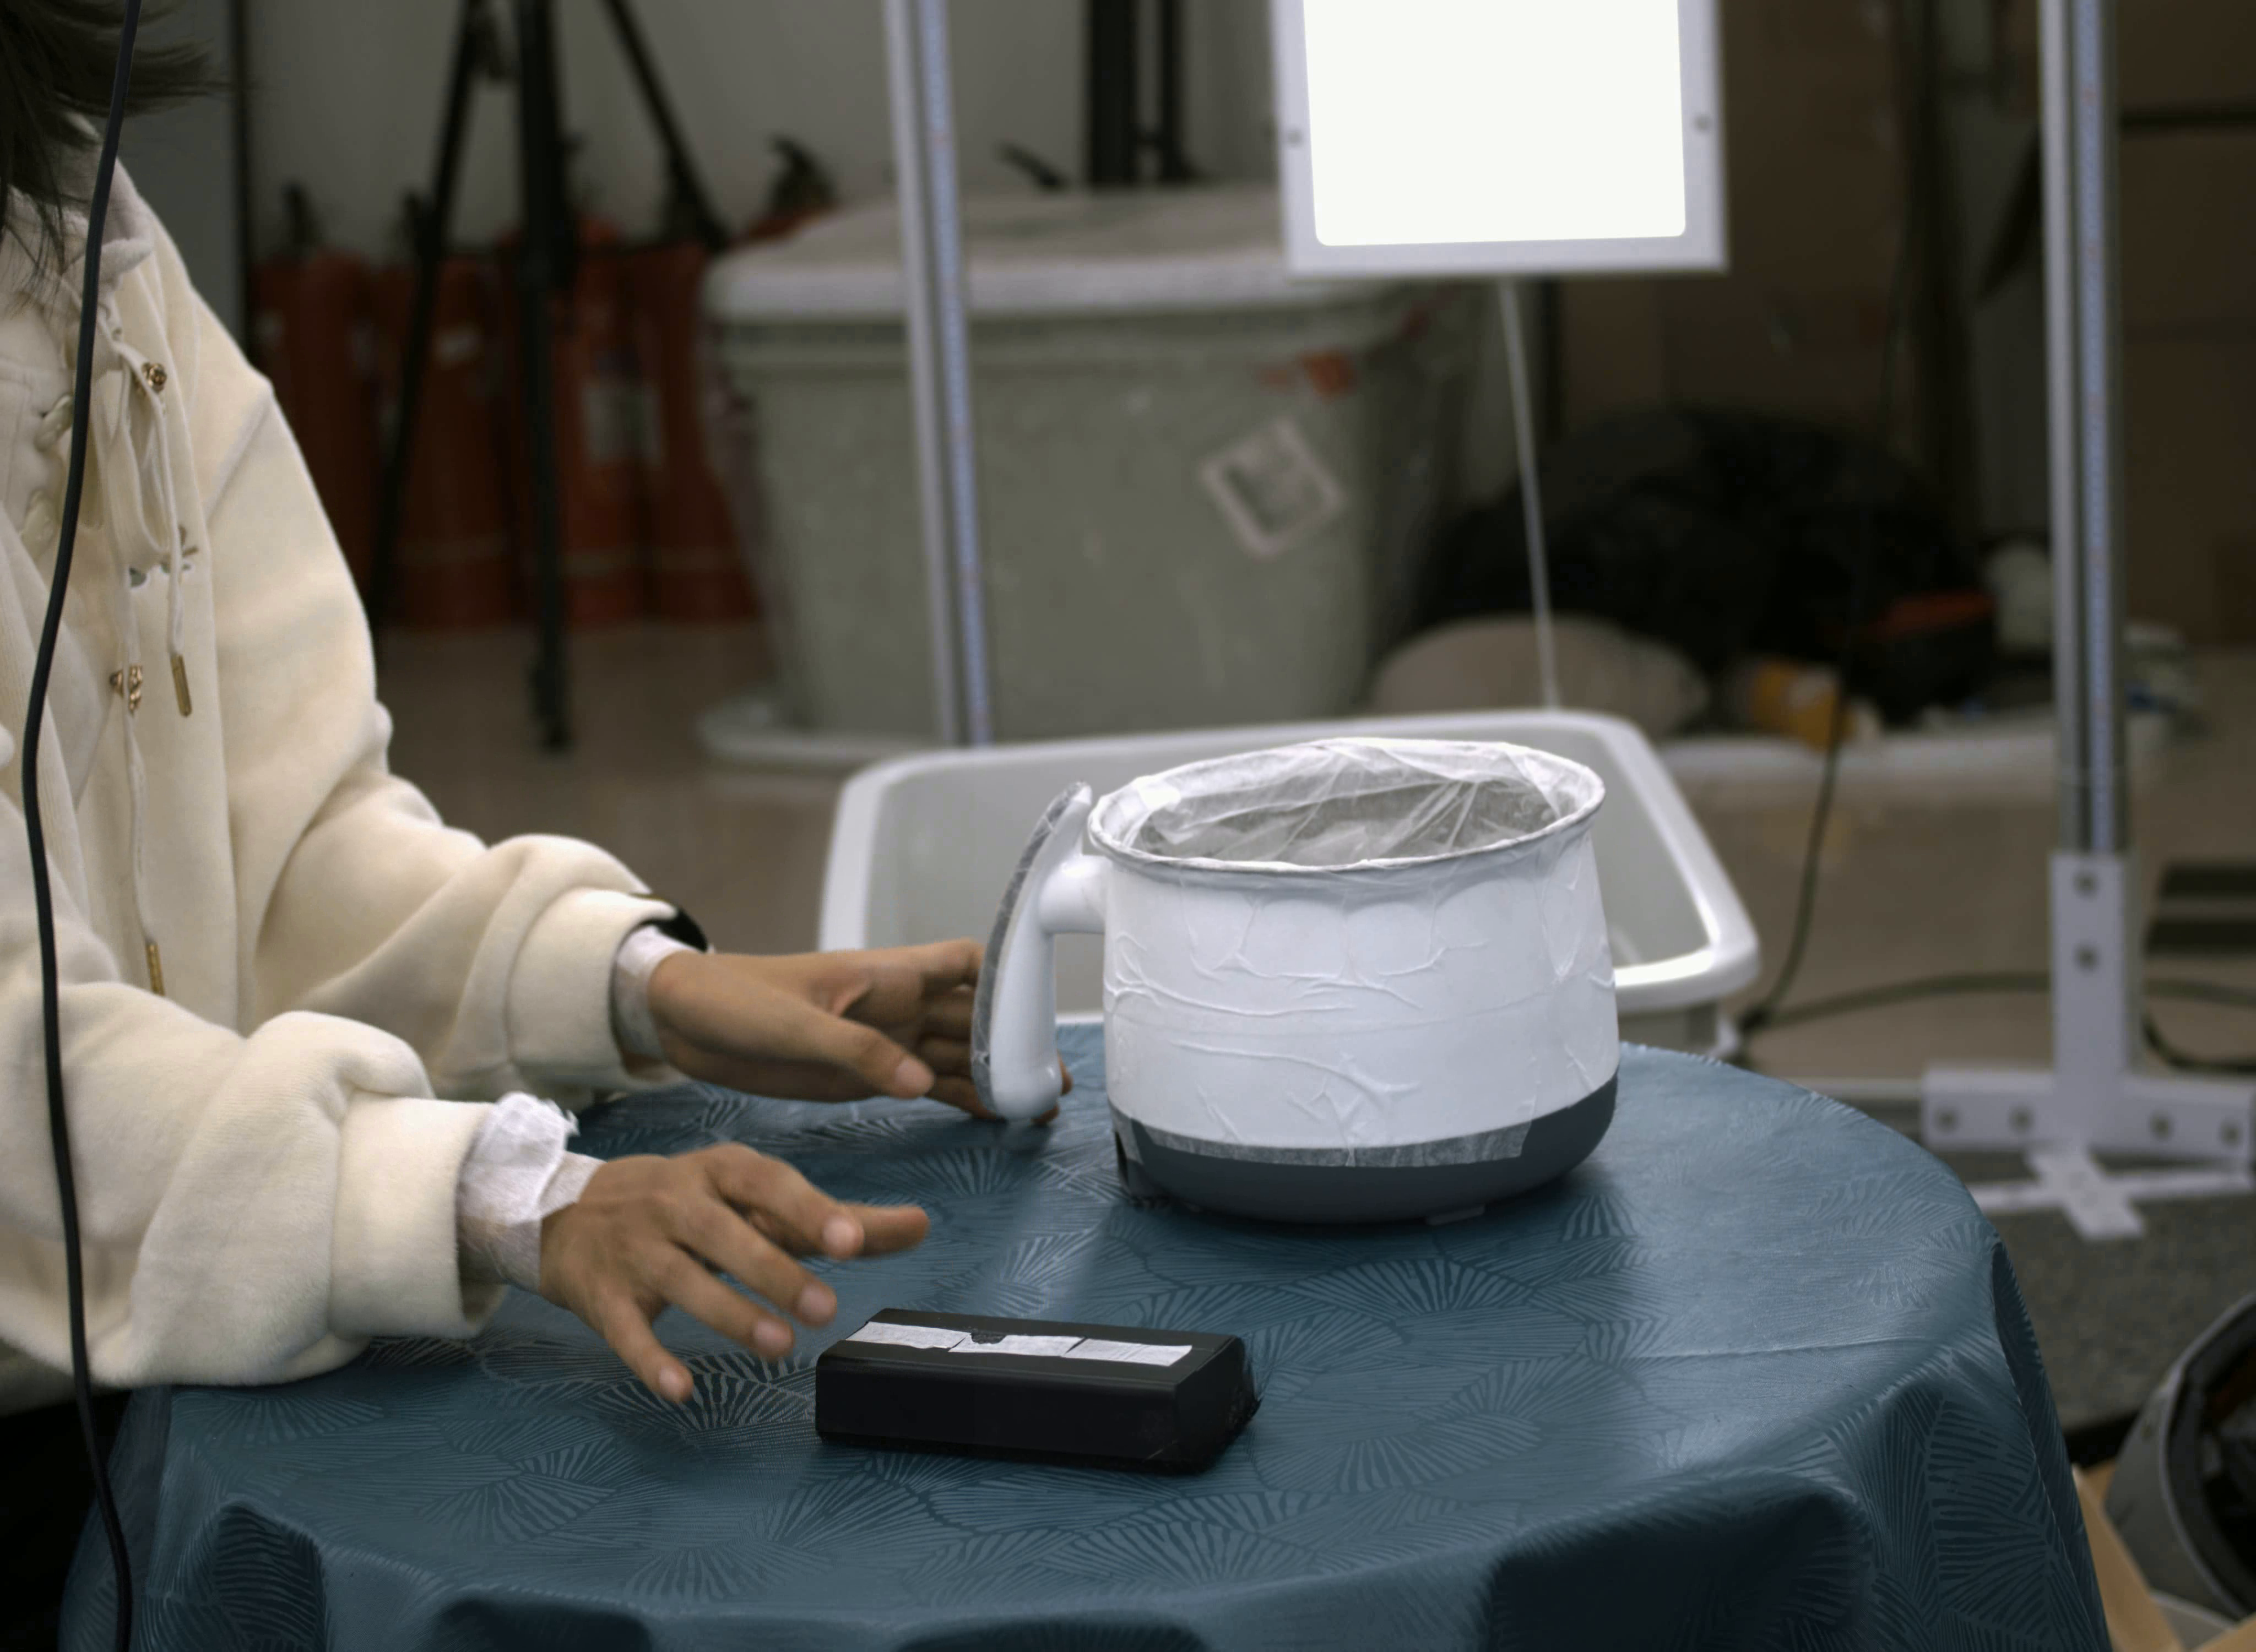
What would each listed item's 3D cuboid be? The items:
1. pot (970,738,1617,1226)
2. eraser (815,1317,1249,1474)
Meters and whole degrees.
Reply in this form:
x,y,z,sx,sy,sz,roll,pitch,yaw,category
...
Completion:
x,y,z,sx,sy,sz,roll,pitch,yaw,category
0.053,0.052,1.892,0.237,0.137,0.175,1,15,23,pot
-0.028,0.172,1.668,0.128,0.030,0.052,1,14,28,eraser
